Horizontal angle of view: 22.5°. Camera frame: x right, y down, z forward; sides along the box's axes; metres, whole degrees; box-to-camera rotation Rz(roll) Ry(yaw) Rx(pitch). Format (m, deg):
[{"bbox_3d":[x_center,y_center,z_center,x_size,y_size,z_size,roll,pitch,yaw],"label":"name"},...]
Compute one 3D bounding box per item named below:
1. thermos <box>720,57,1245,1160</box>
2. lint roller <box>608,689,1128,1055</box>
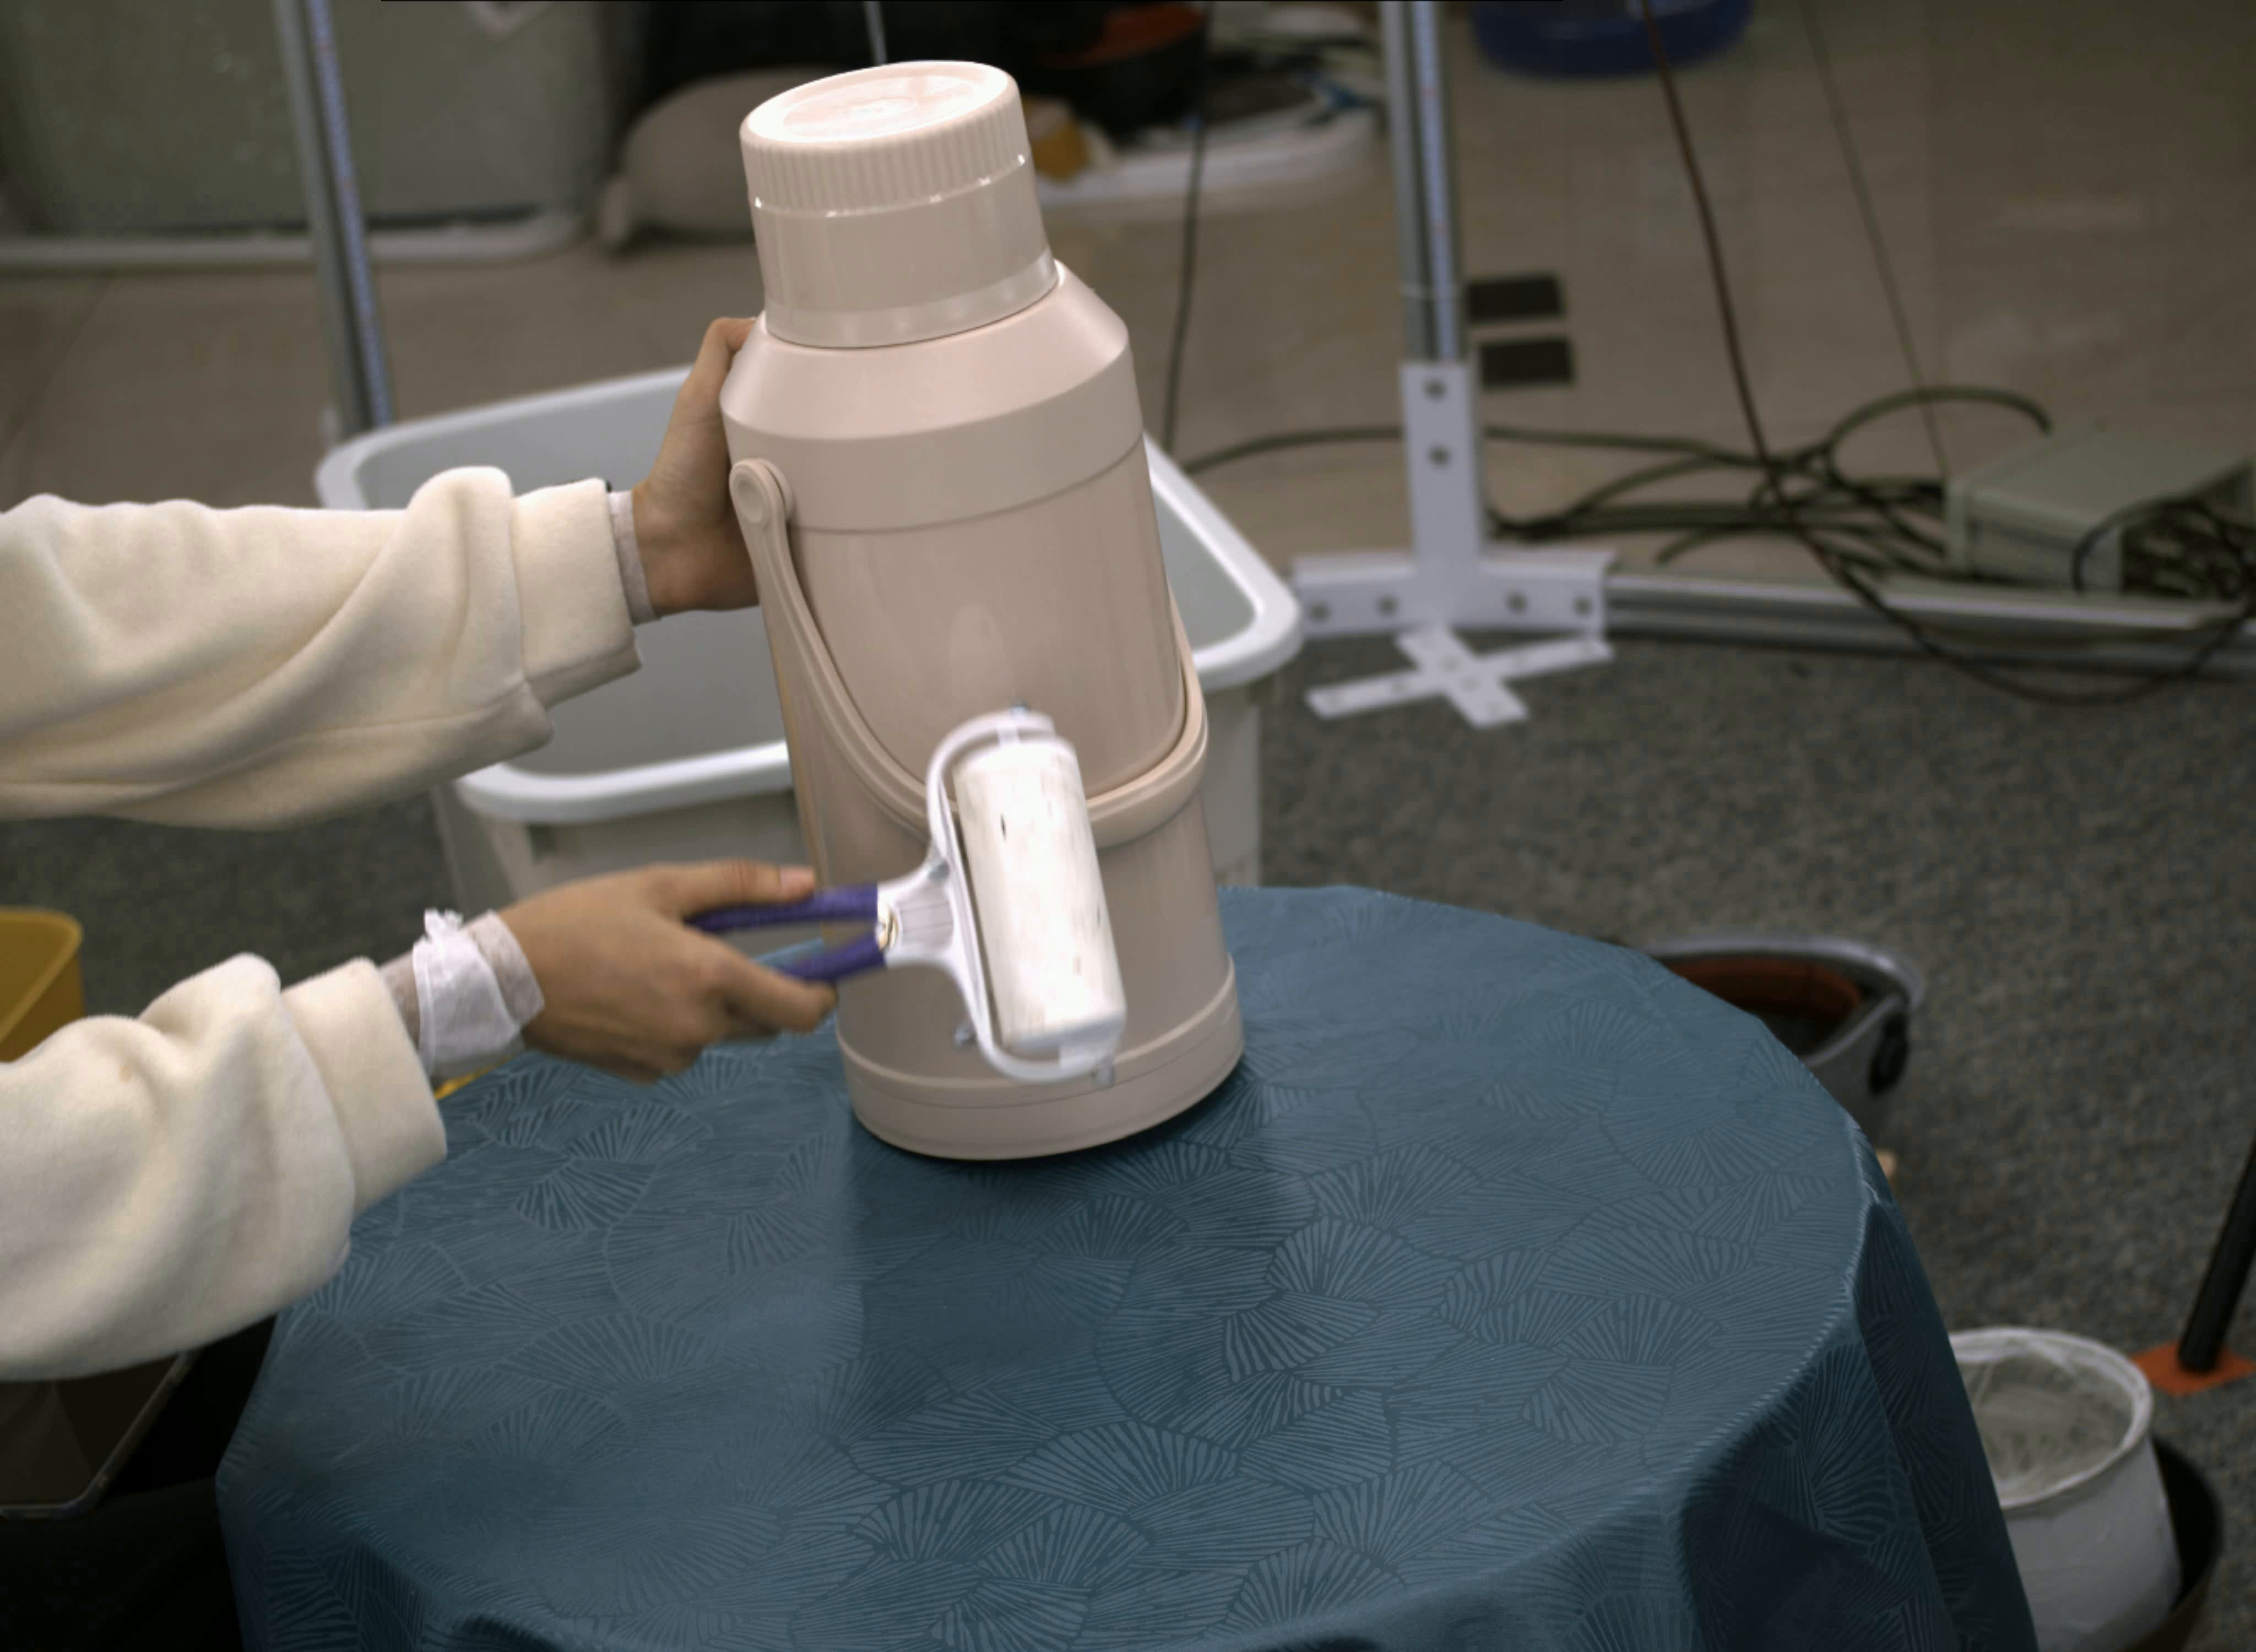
[{"bbox_3d":[-0.069,-0.087,2.166,0.174,0.412,0.205,-26,29,-32],"label":"thermos"},{"bbox_3d":[-0.096,0.027,2.027,0.180,0.133,0.050,-10,-2,-12],"label":"lint roller"}]
